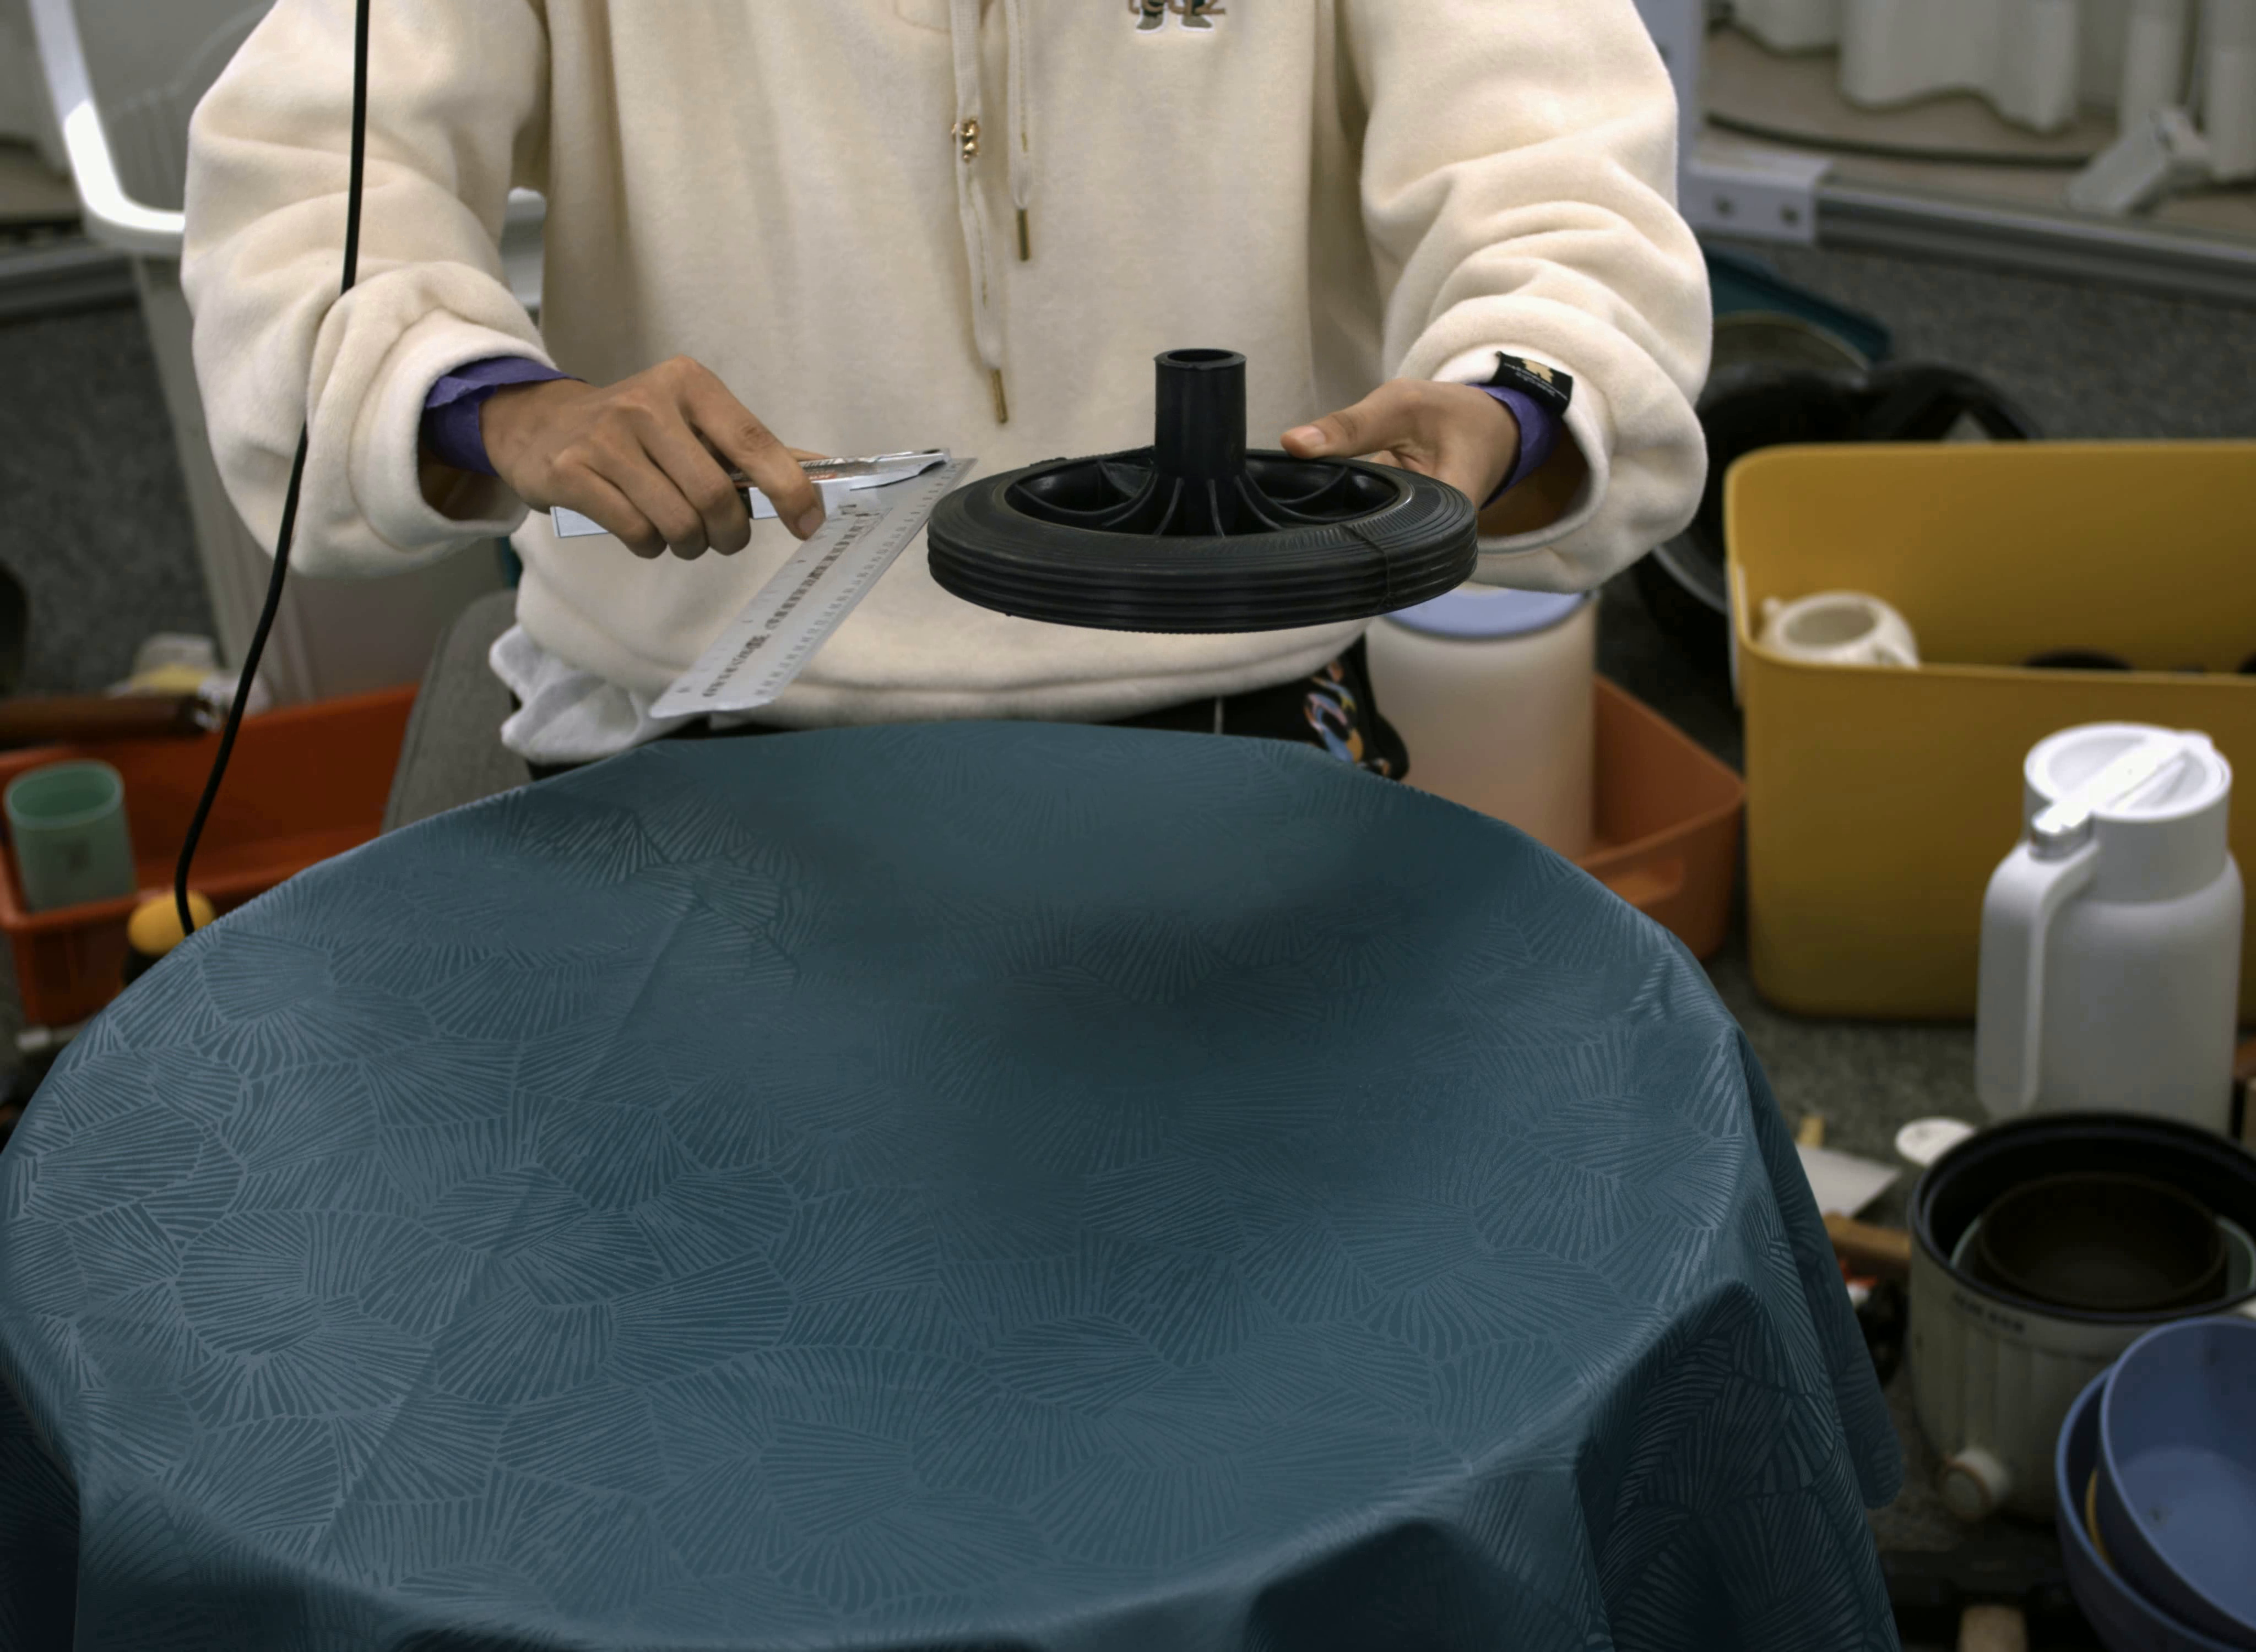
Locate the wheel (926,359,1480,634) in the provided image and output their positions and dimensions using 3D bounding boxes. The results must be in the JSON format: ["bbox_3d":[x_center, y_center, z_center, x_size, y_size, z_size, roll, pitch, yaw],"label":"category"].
[{"bbox_3d":[0.025,-0.117,1.915,0.189,0.079,0.189,-1,15,-4],"label":"wheel"}]

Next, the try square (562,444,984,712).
[{"bbox_3d":[-0.151,-0.076,1.876,0.151,0.016,0.316,-9,15,13],"label":"try square"}]
